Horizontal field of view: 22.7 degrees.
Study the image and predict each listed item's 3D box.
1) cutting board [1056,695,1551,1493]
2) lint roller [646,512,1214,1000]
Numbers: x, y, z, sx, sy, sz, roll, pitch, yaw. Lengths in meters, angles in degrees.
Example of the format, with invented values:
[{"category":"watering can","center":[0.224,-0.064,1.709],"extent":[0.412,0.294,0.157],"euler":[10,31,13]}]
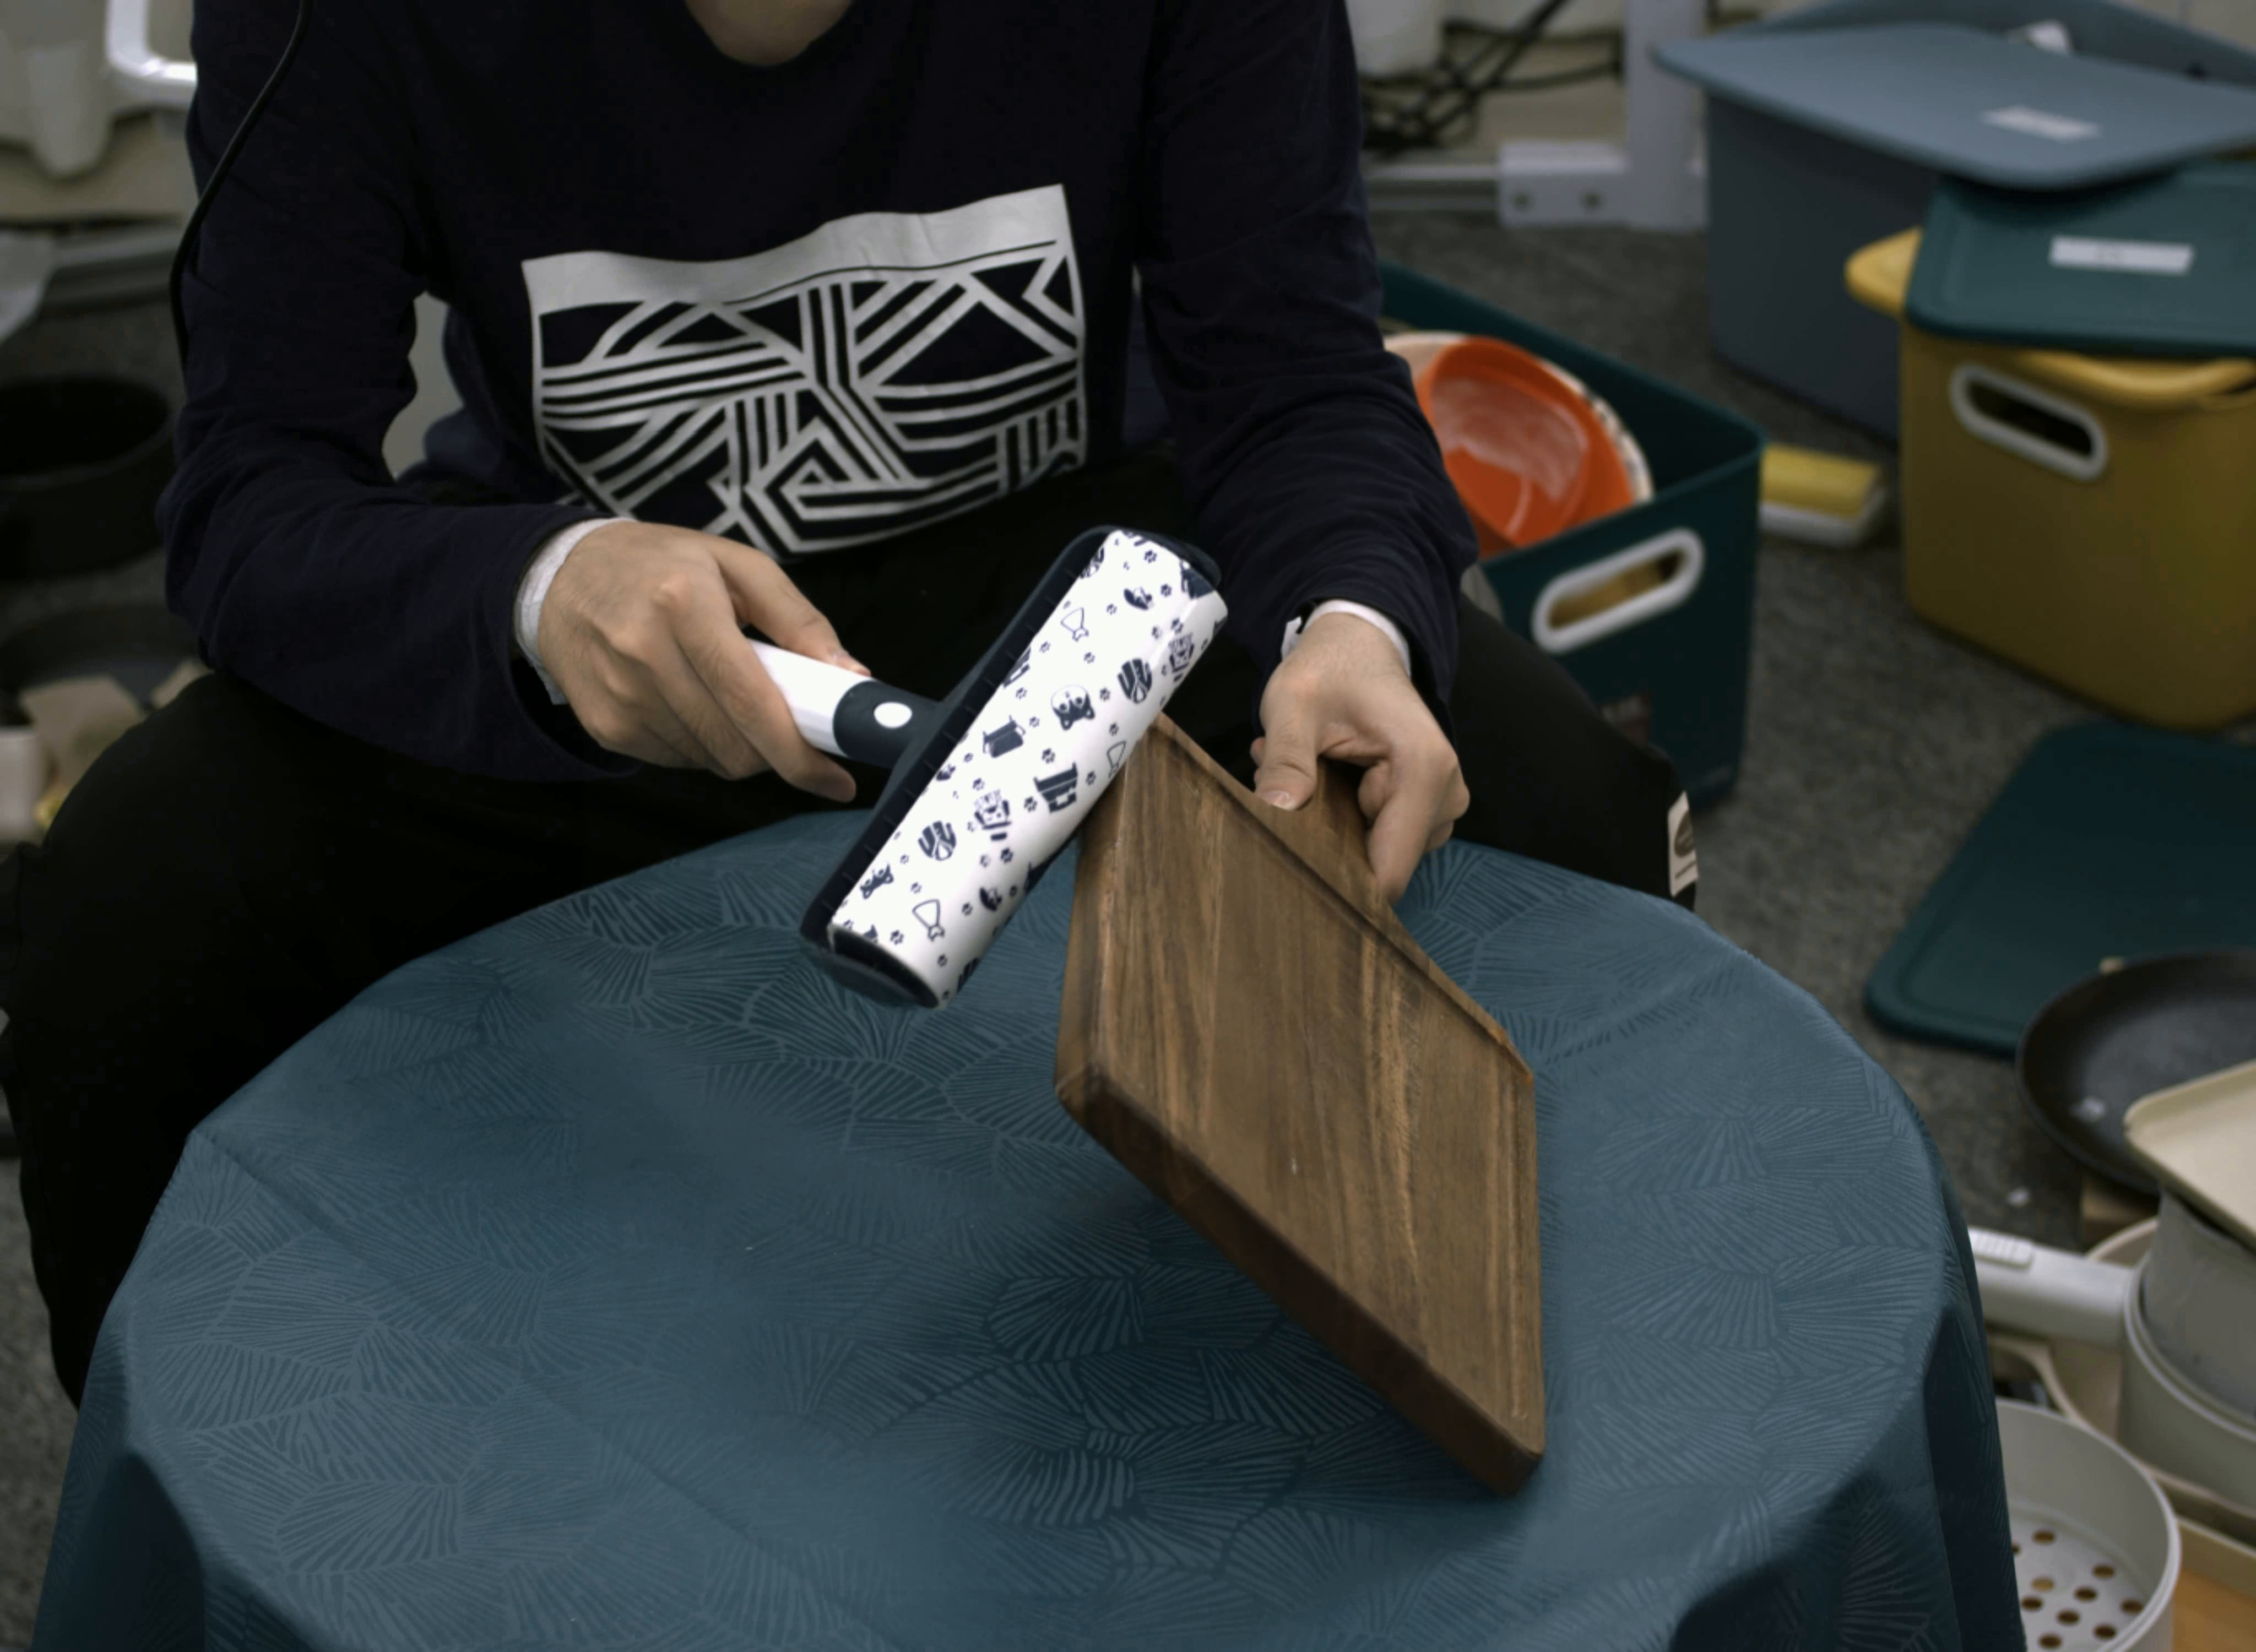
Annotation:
[{"category":"cutting board","center":[0.060,0.055,1.816],"extent":[0.023,0.200,0.358],"euler":[-41,18,21]},{"category":"lint roller","center":[-0.095,-0.038,1.868],"extent":[0.246,0.050,0.178],"euler":[14,65,50]}]
